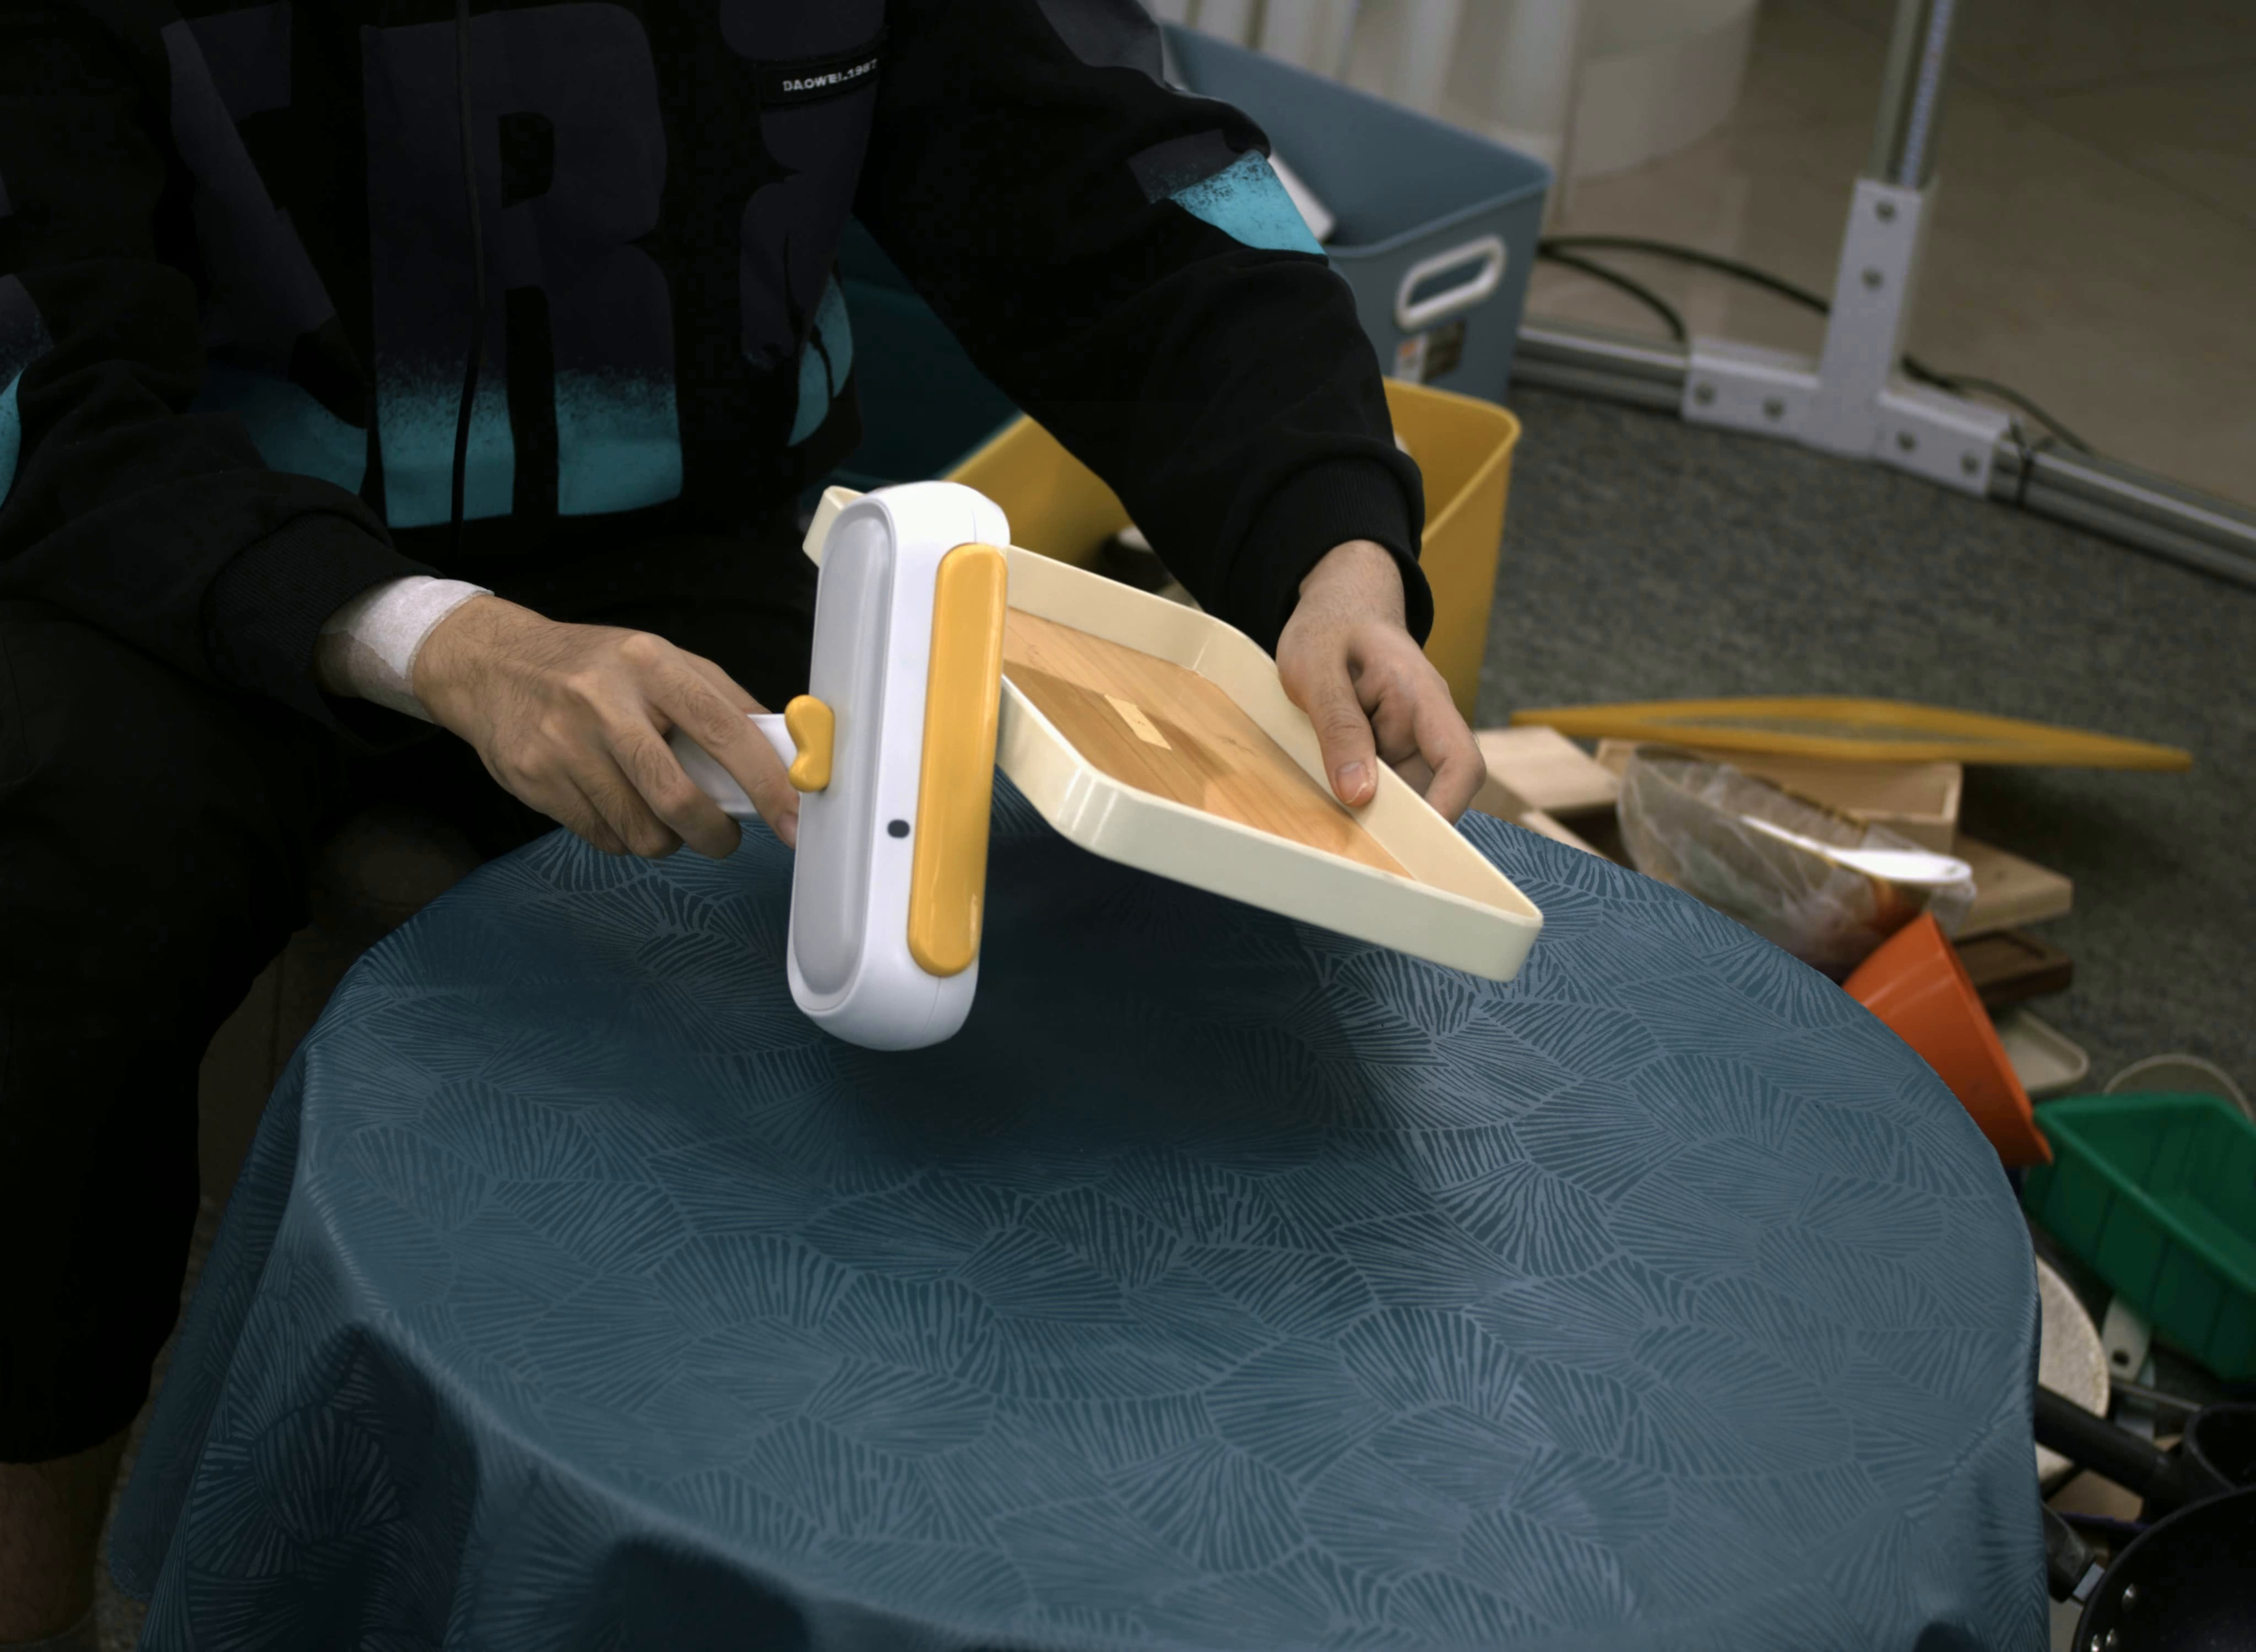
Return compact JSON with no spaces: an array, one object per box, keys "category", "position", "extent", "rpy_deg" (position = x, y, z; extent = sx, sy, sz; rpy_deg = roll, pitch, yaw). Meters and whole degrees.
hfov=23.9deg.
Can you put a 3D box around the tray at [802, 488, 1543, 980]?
[{"category":"tray","position":[0.010,-0.036,1.891],"extent":[0.190,0.027,0.303],"rpy_deg":[18,15,-27]}]

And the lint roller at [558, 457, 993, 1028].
[{"category":"lint roller","position":[-0.120,-0.023,1.830],"extent":[0.073,0.193,0.193],"rpy_deg":[5,-10,-40]}]
